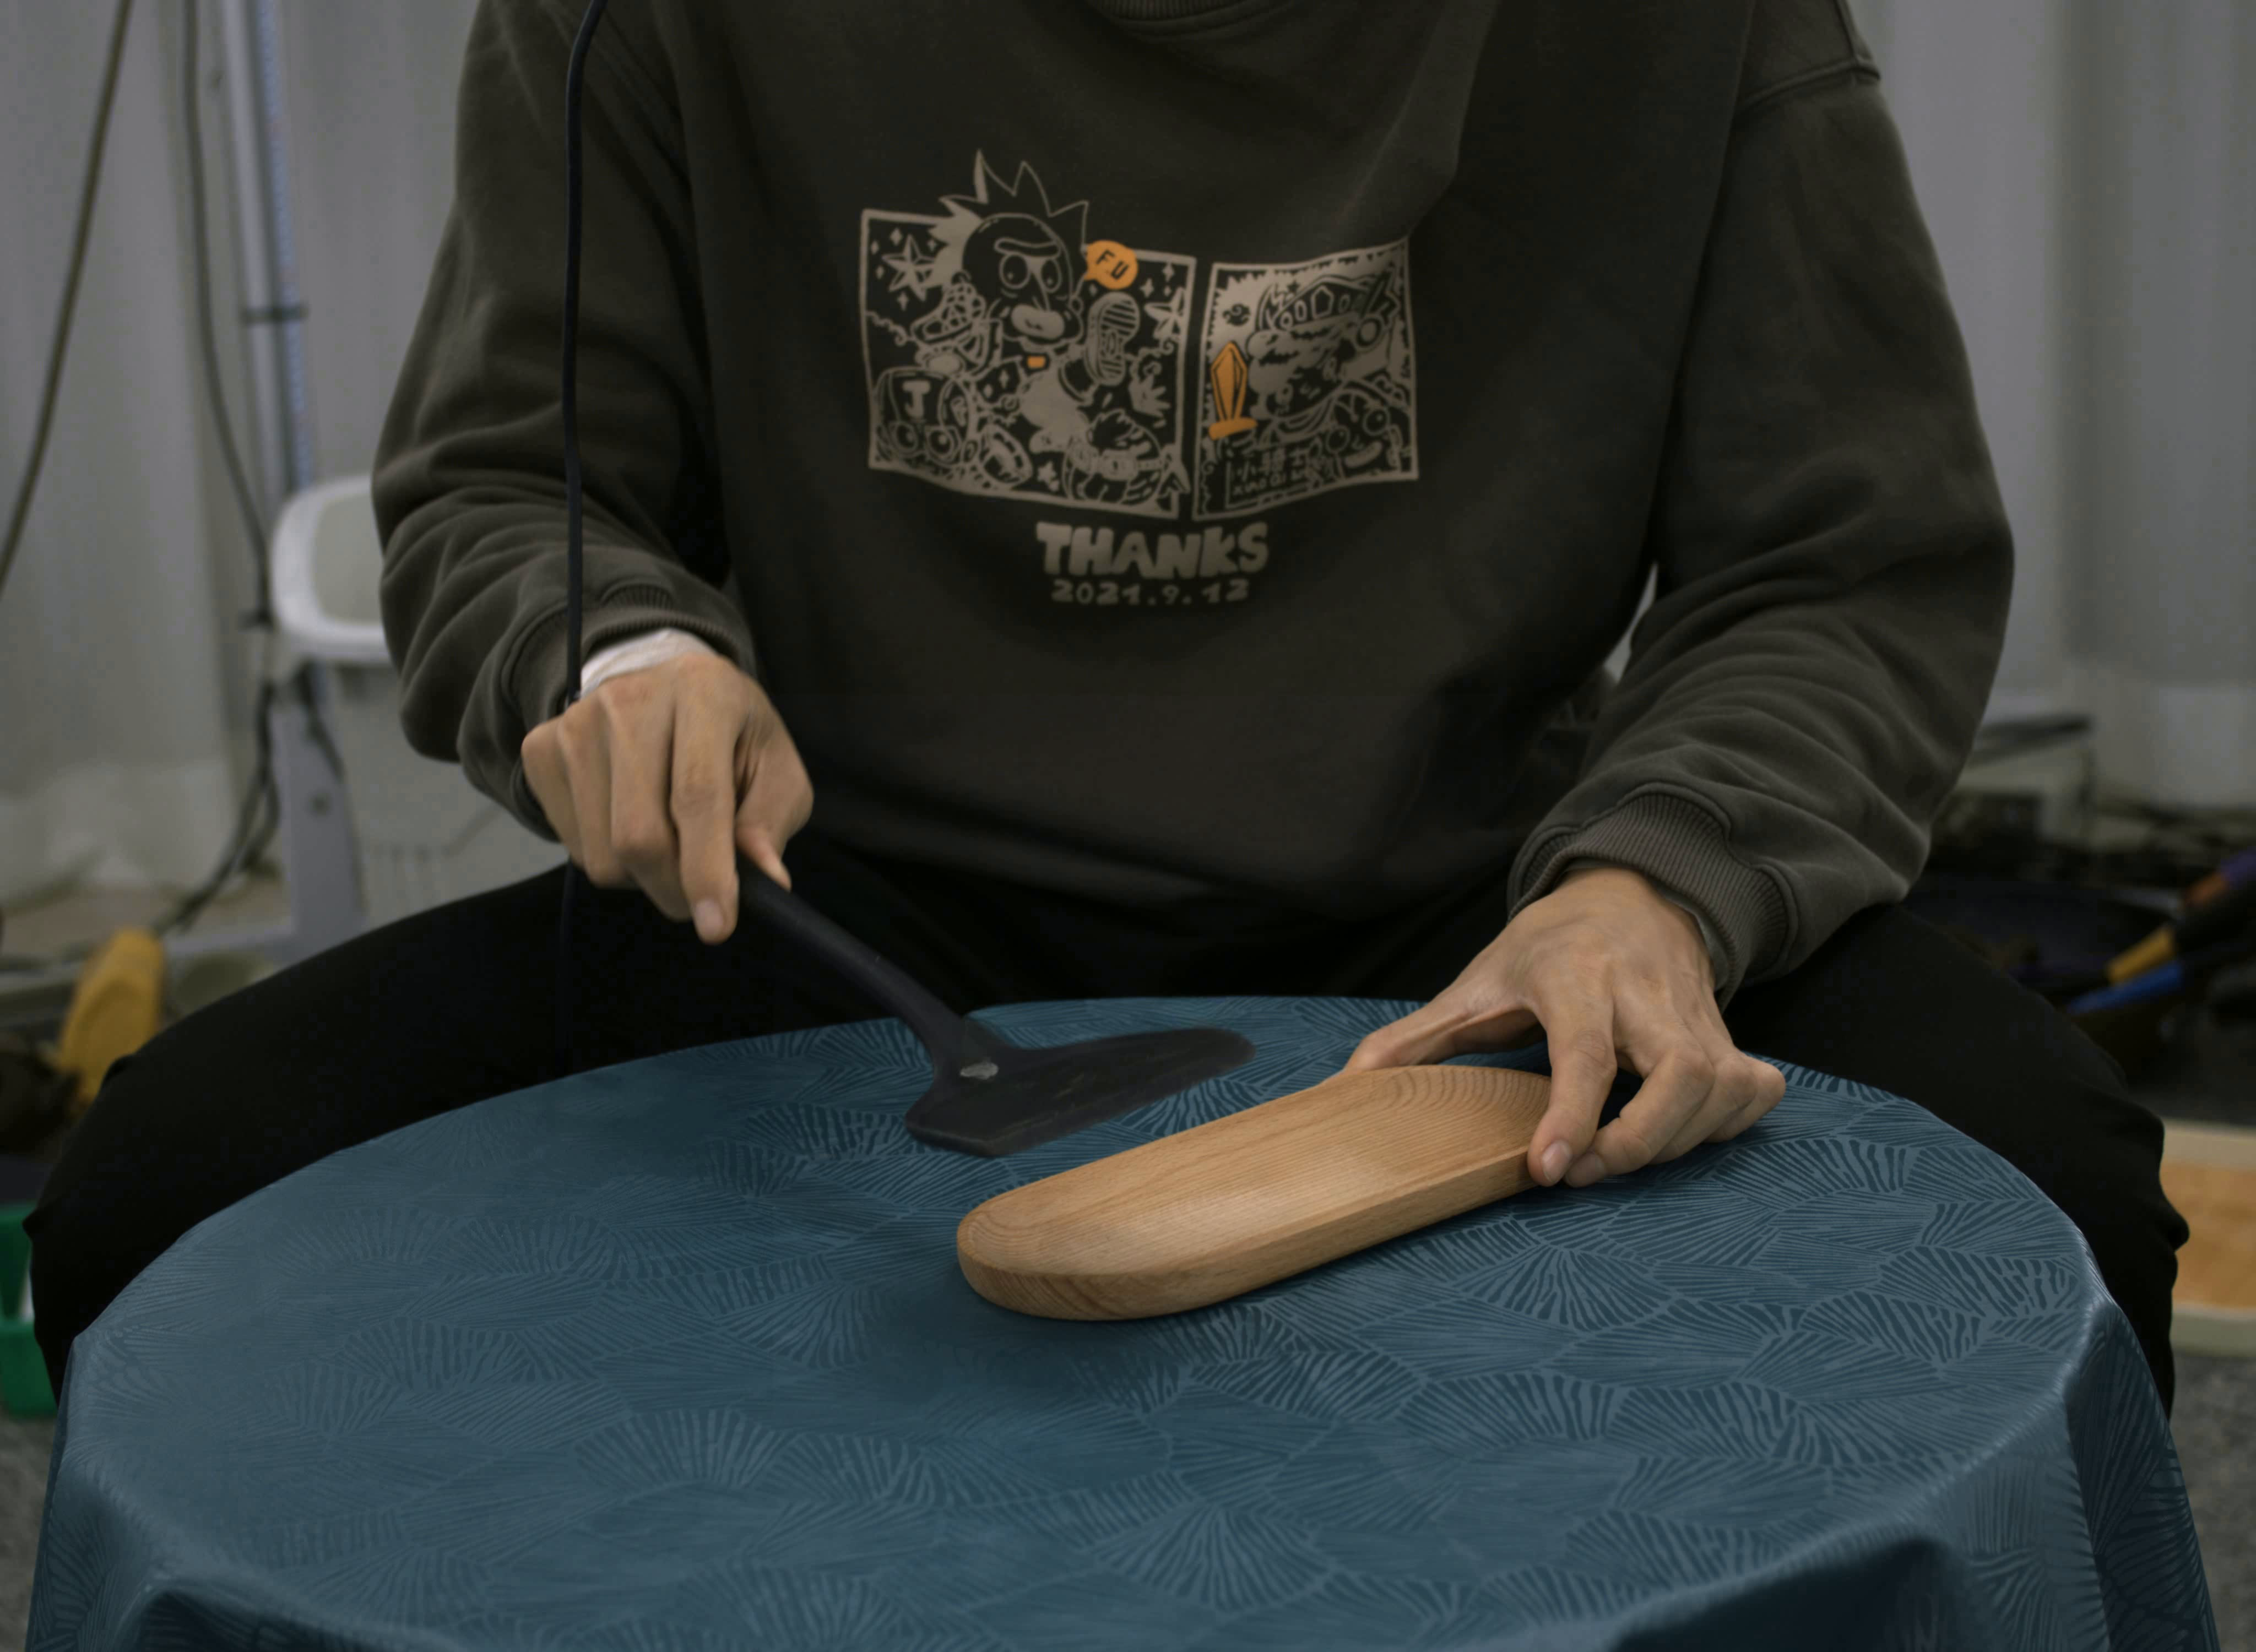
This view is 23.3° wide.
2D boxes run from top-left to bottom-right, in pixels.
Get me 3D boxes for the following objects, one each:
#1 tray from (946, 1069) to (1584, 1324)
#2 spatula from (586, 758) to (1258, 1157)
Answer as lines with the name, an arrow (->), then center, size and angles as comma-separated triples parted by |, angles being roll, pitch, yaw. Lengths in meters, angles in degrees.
tray -> 0.045, 0.113, 1.687 | 0.231, 0.020, 0.102 | -17, 19, -38
spatula -> -0.086, 0.032, 1.693 | 0.099, 0.040, 0.330 | -19, 33, -29
